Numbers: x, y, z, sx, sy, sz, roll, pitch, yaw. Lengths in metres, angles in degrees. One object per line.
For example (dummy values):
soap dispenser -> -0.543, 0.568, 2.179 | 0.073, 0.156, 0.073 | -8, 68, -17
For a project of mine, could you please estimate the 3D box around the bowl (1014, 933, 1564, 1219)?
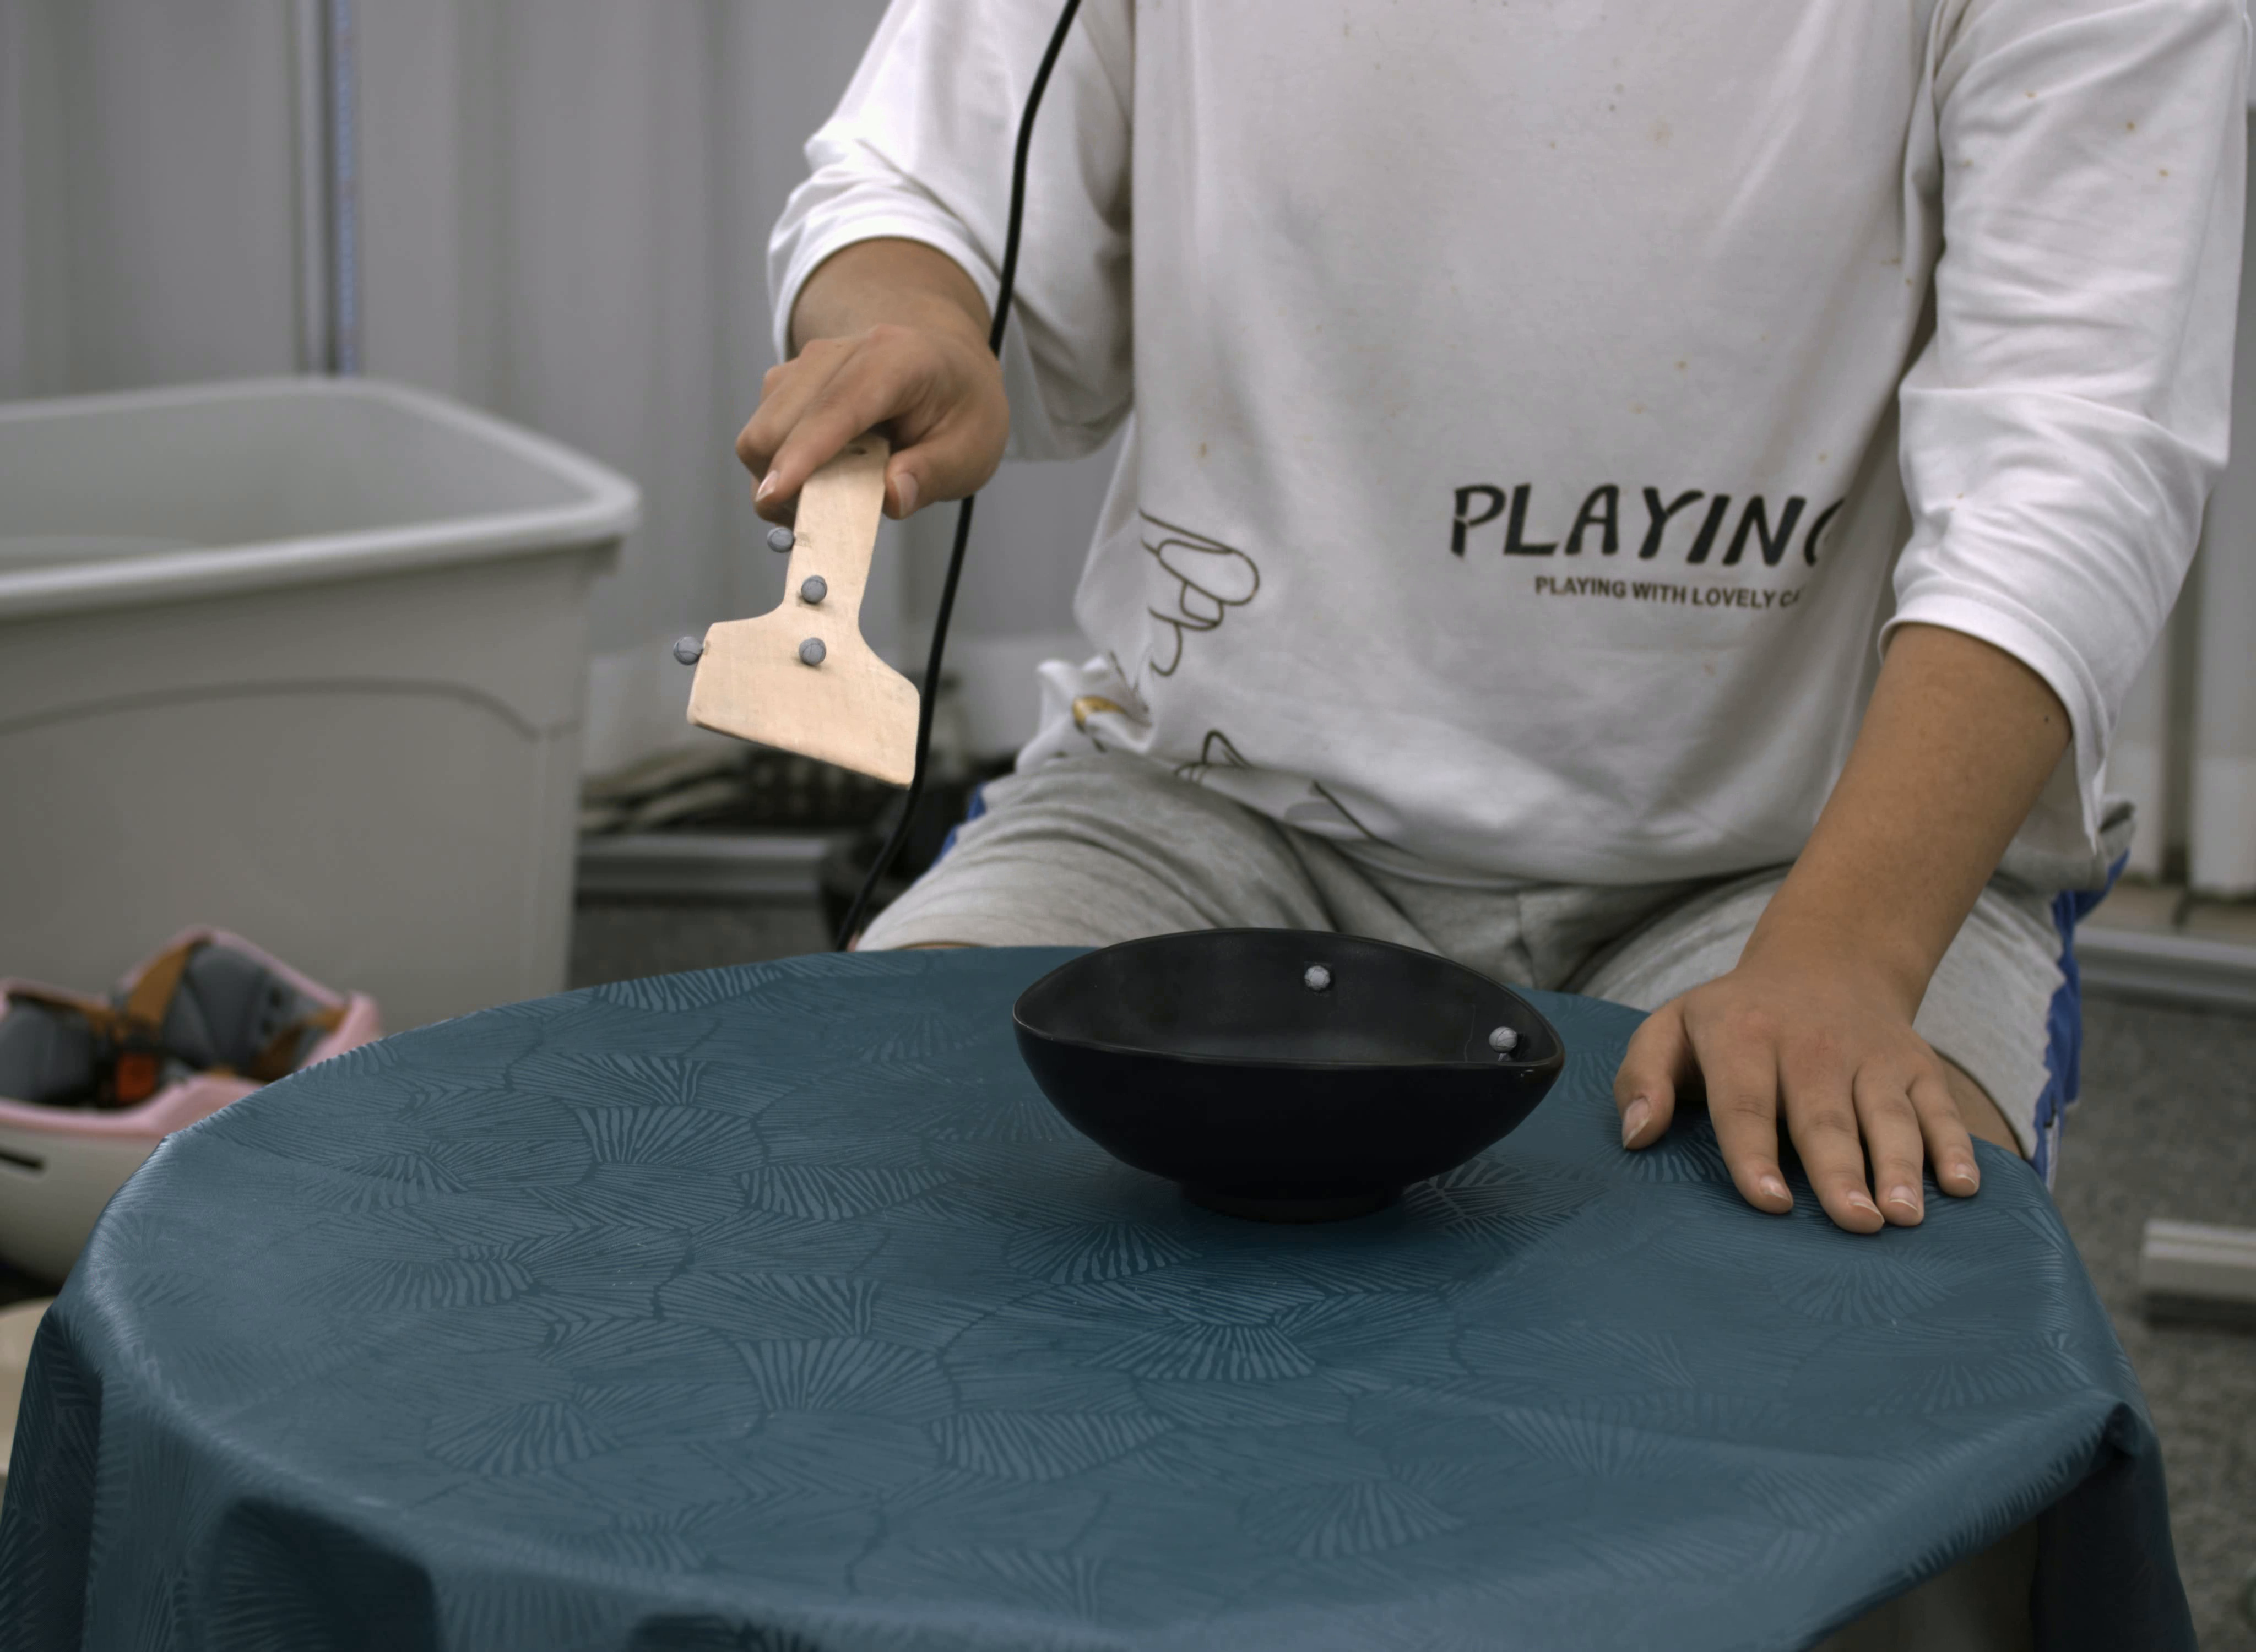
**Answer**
bowl -> 0.048, 0.081, 1.627 | 0.170, 0.067, 0.136 | 3, 15, 0

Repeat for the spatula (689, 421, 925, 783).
spatula -> -0.096, -0.078, 1.686 | 0.072, 0.011, 0.291 | 16, 23, -7
